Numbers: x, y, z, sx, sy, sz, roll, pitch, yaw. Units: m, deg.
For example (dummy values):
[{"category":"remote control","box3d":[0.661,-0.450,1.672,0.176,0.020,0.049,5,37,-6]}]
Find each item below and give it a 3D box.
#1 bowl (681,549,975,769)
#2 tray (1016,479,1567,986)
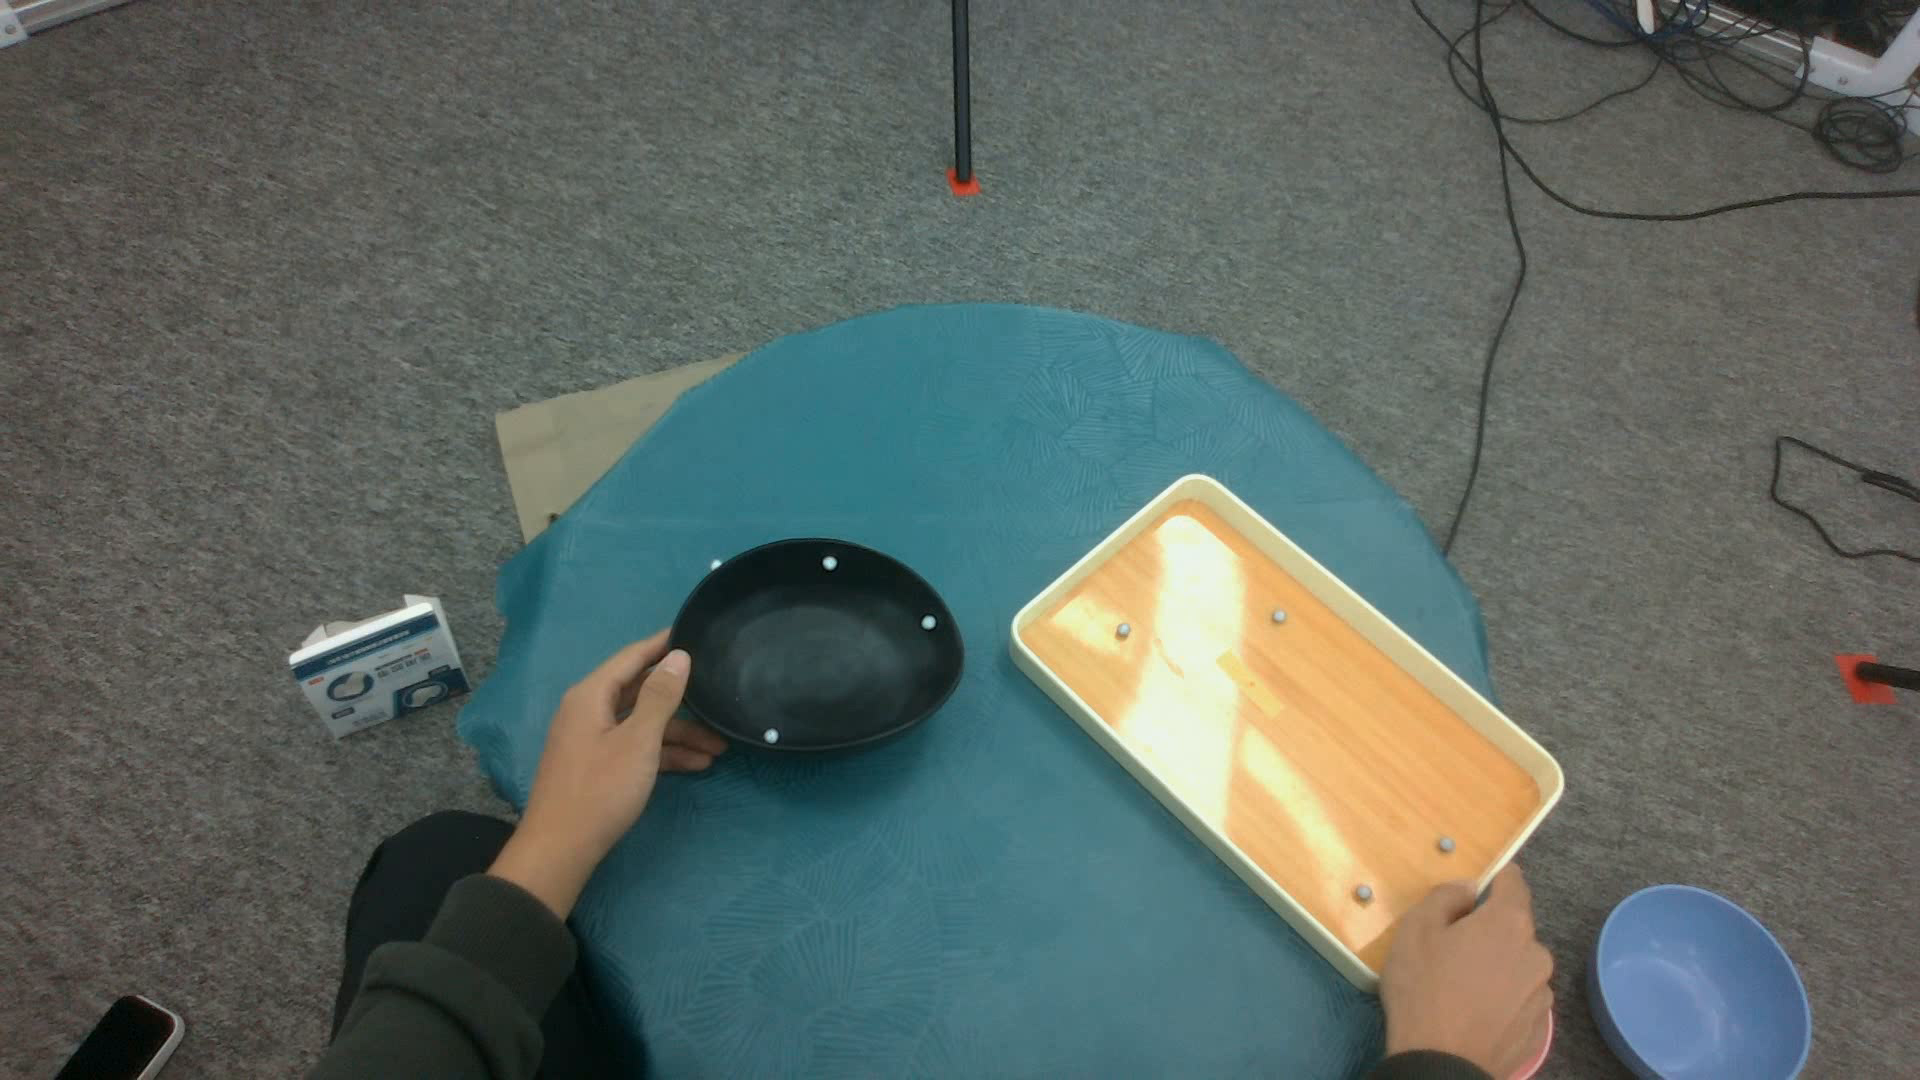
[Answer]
[{"category":"bowl","box3d":[-0.077,0.078,0.817,0.170,0.066,0.138,-1,58,-8]},{"category":"tray","box3d":[0.199,0.104,0.847,0.300,0.027,0.192,41,62,20]}]
